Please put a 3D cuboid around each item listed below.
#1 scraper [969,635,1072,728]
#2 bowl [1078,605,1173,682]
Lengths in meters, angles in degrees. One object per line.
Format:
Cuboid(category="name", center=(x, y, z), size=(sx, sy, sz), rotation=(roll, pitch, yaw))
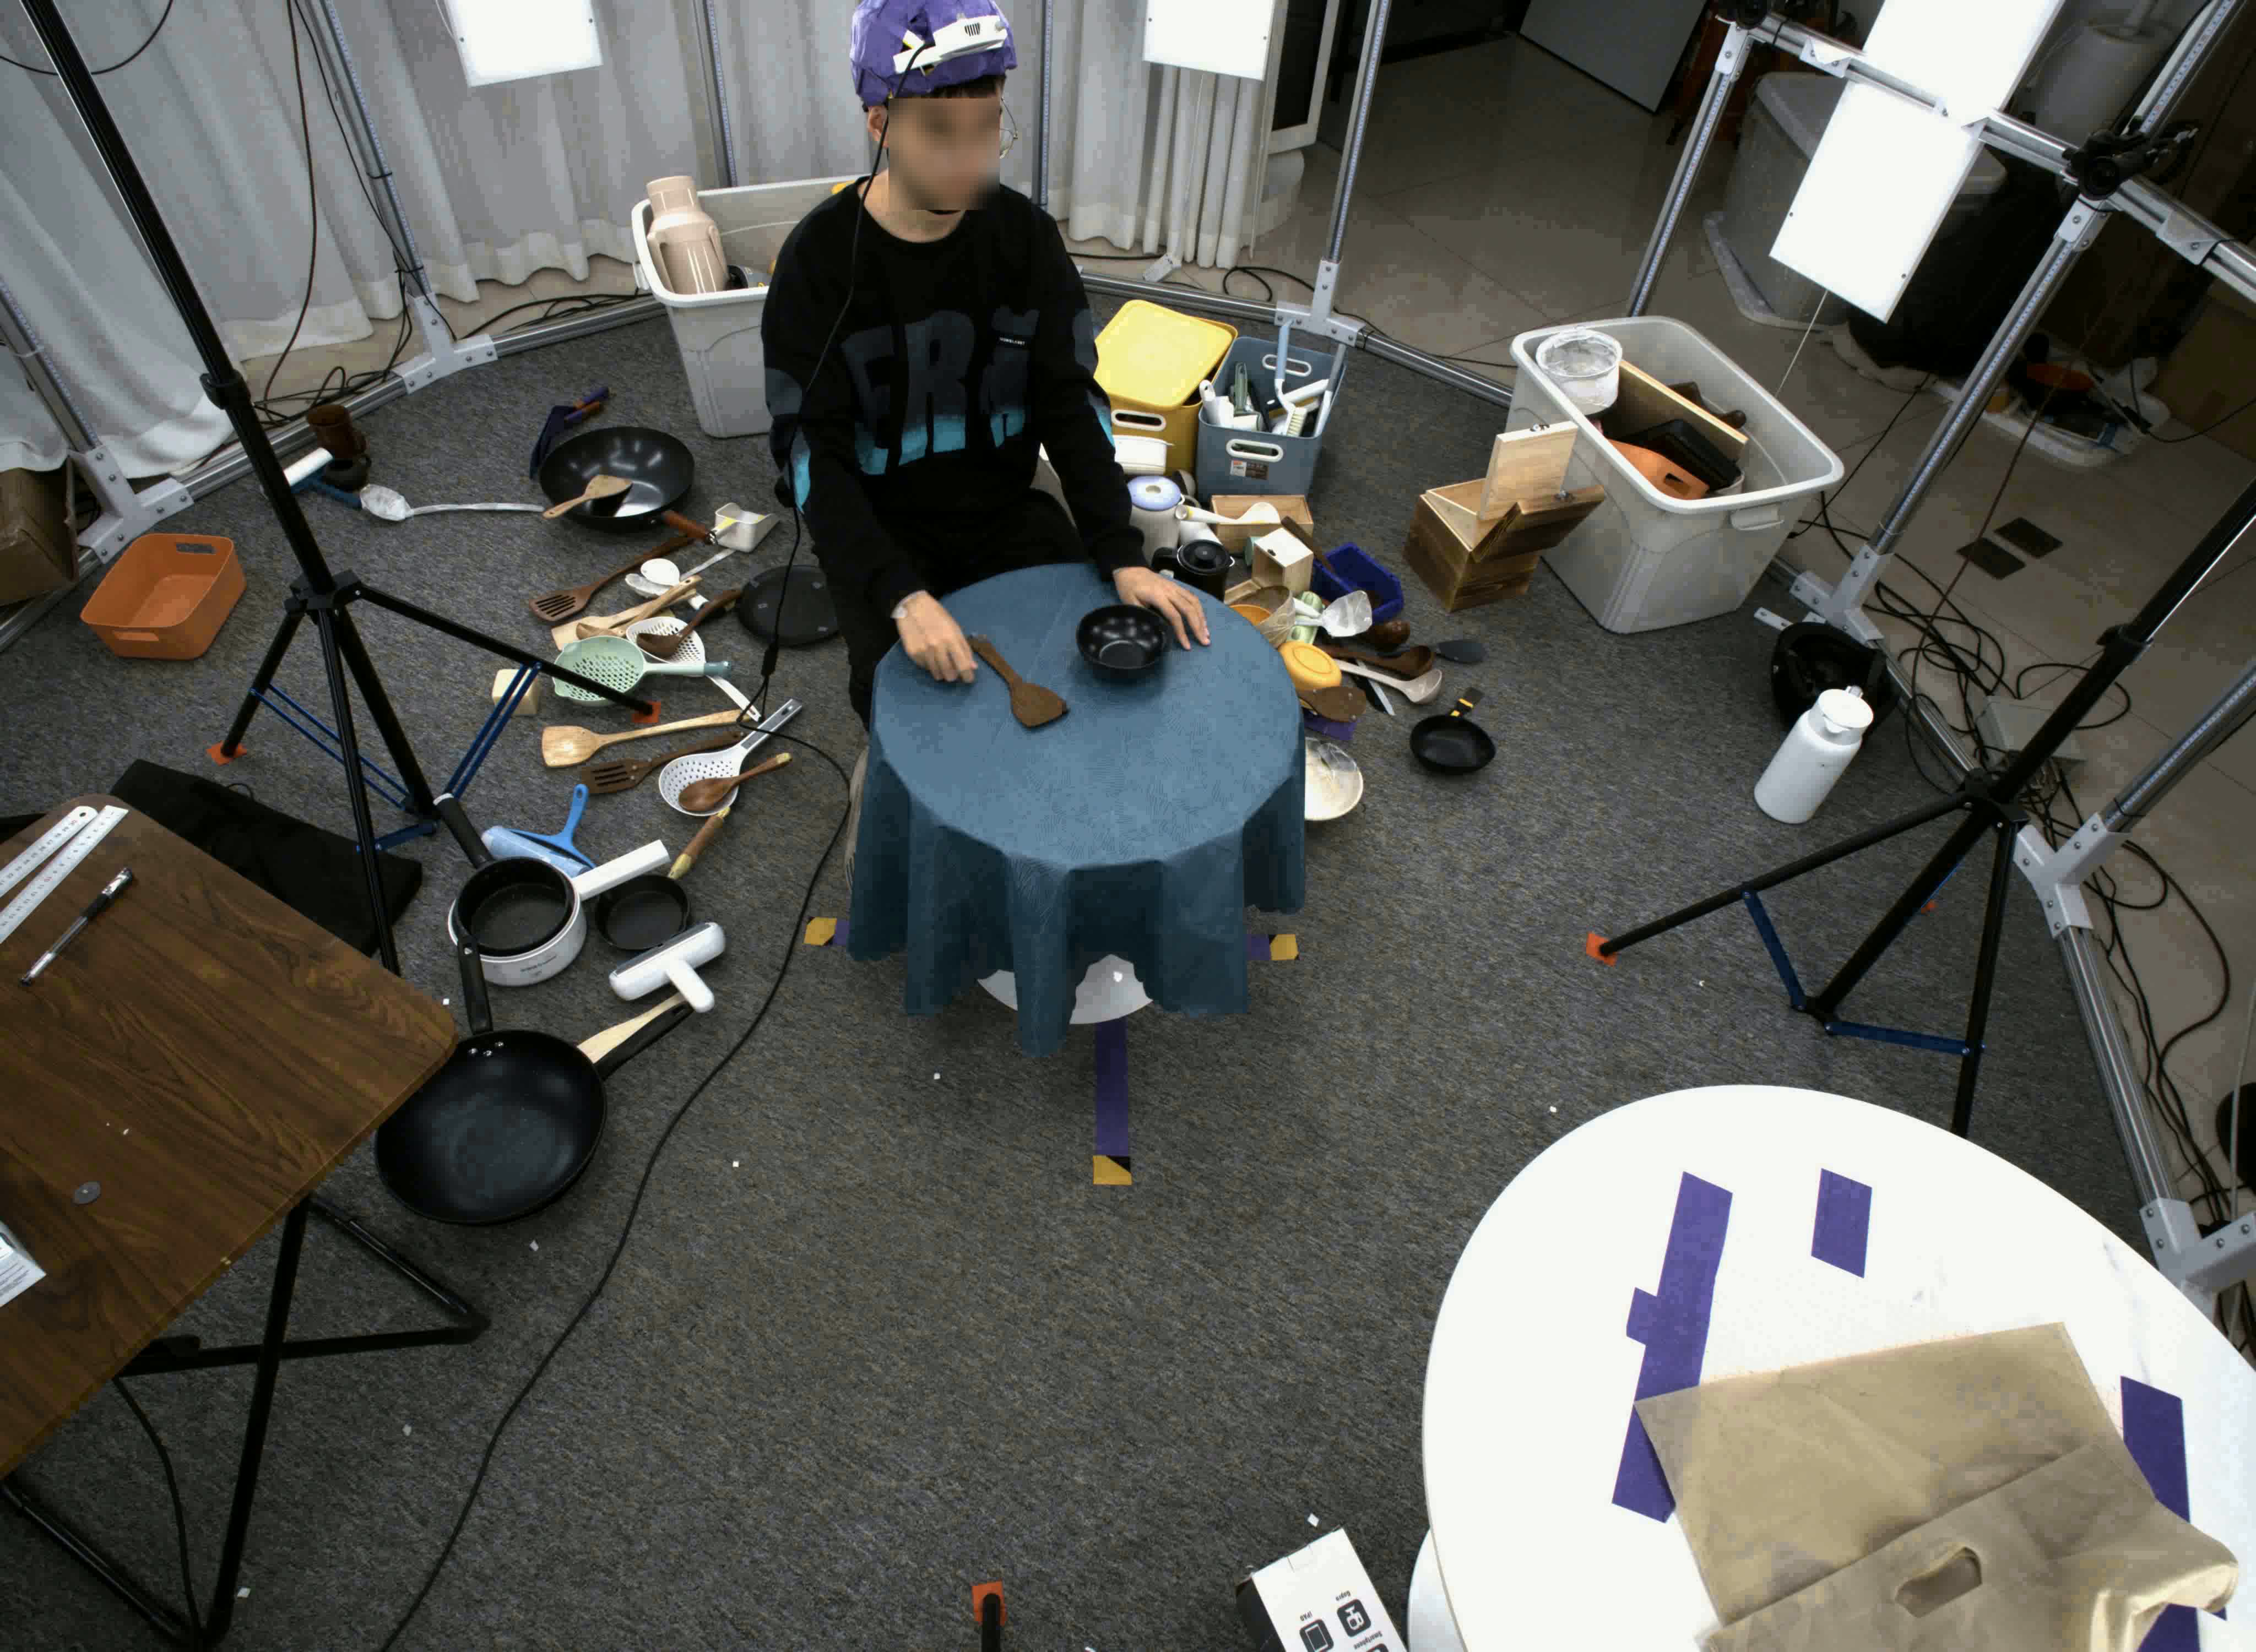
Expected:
Cuboid(category="scraper", center=(-0.165, -0.212, 1.853), size=(0.076, 0.010, 0.215), rotation=(-26, 54, -25))
Cuboid(category="bowl", center=(-0.004, -0.258, 1.877), size=(0.140, 0.048, 0.143), rotation=(1, 51, -1))
